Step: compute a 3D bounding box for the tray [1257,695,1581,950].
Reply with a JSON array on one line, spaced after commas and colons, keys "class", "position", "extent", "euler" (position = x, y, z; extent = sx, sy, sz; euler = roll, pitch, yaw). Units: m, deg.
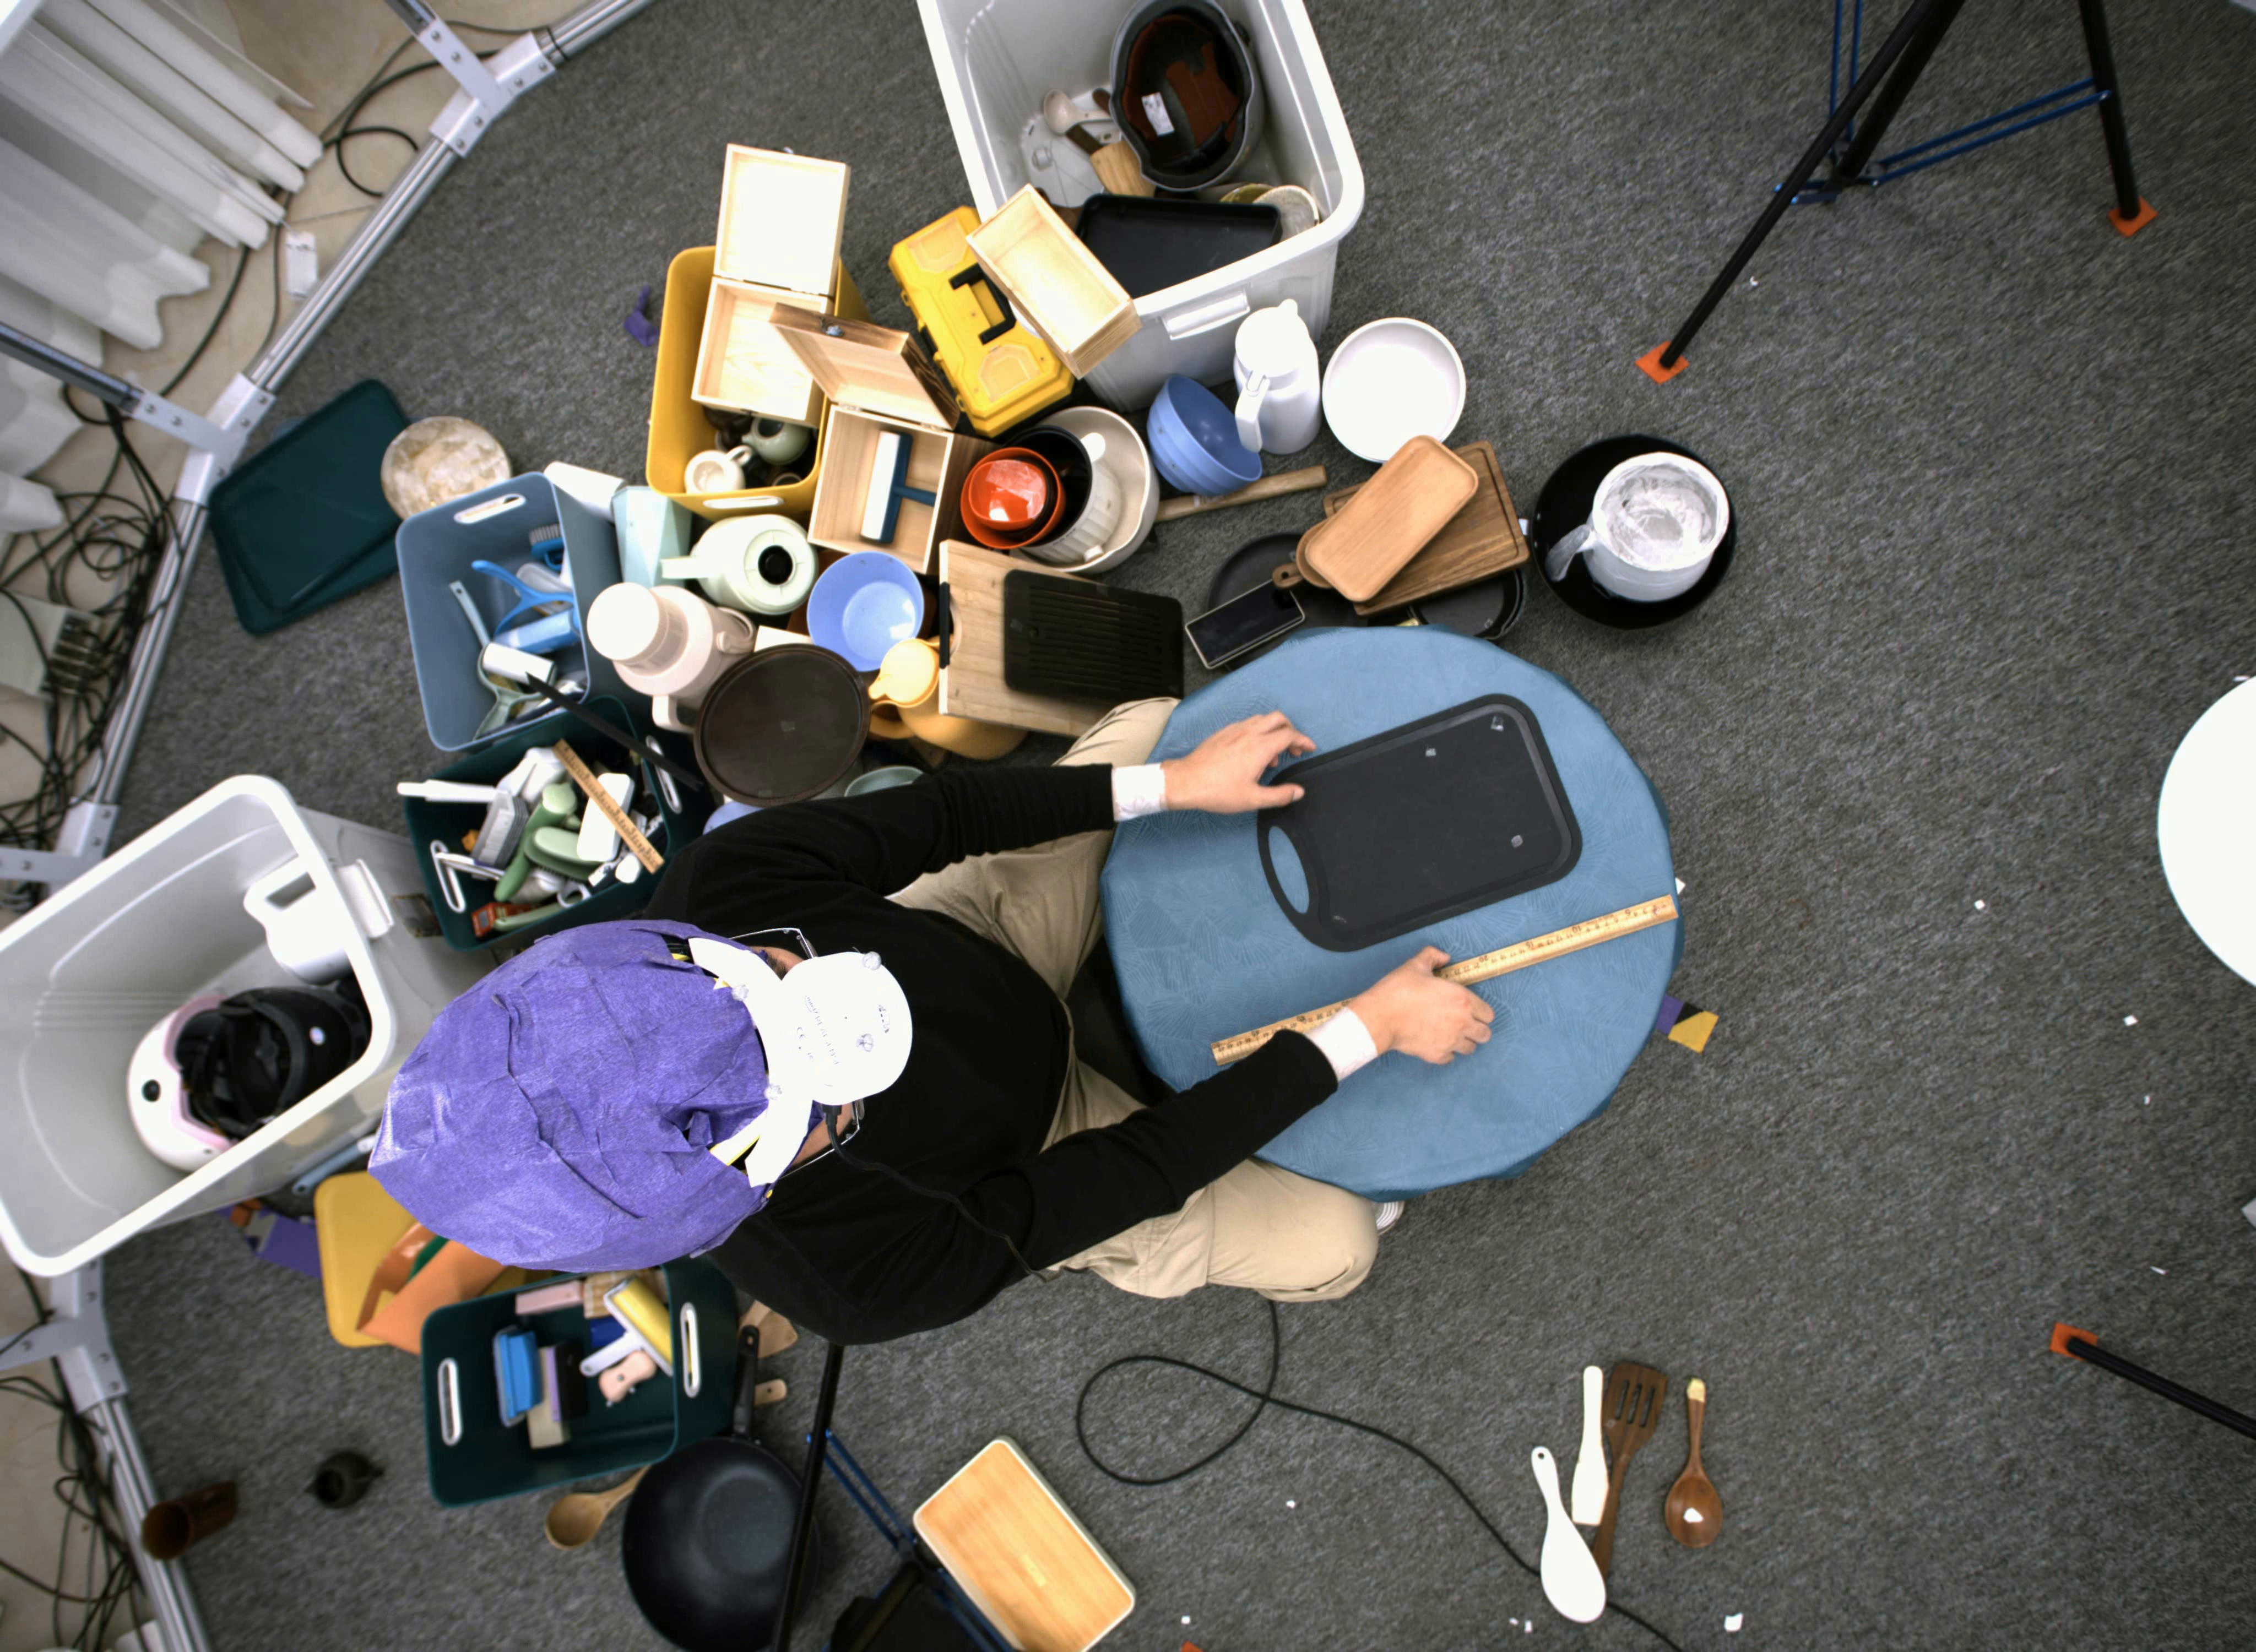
[{"class": "tray", "position": [0.299, -0.001, 1.455], "extent": [0.327, 0.010, 0.210], "euler": [-19, 83, 9]}]

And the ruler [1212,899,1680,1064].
[{"class": "ruler", "position": [0.327, 0.161, 1.442], "extent": [0.503, 0.006, 0.026], "euler": [-19, 80, 9]}]
